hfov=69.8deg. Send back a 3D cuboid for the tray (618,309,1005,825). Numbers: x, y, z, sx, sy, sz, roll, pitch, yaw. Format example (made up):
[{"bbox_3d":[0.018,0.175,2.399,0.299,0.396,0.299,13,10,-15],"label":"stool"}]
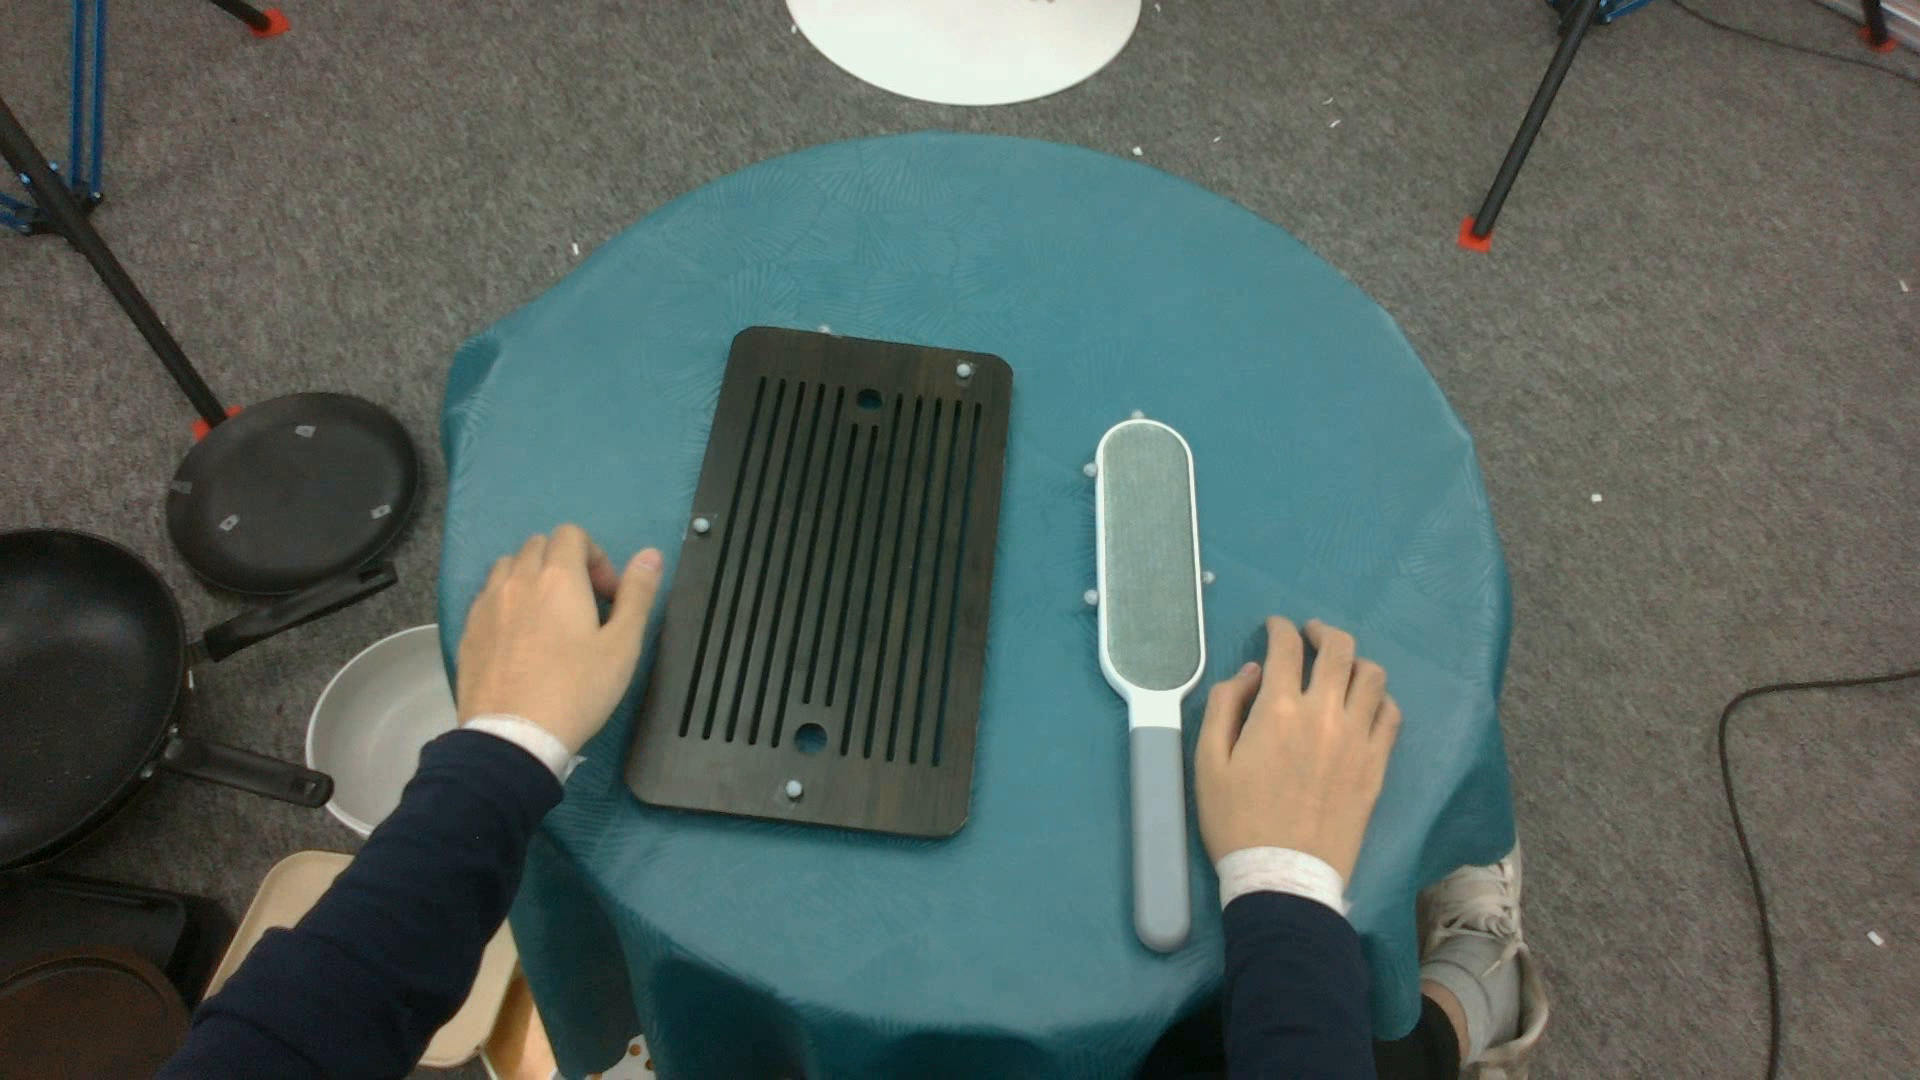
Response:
[{"bbox_3d":[-0.071,0.003,0.752,0.170,0.018,0.307,7,59,-1],"label":"tray"}]

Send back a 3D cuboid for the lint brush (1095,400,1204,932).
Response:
[{"bbox_3d":[0.100,0.052,0.730,0.060,0.021,0.310,7,58,-6],"label":"lint brush"}]
